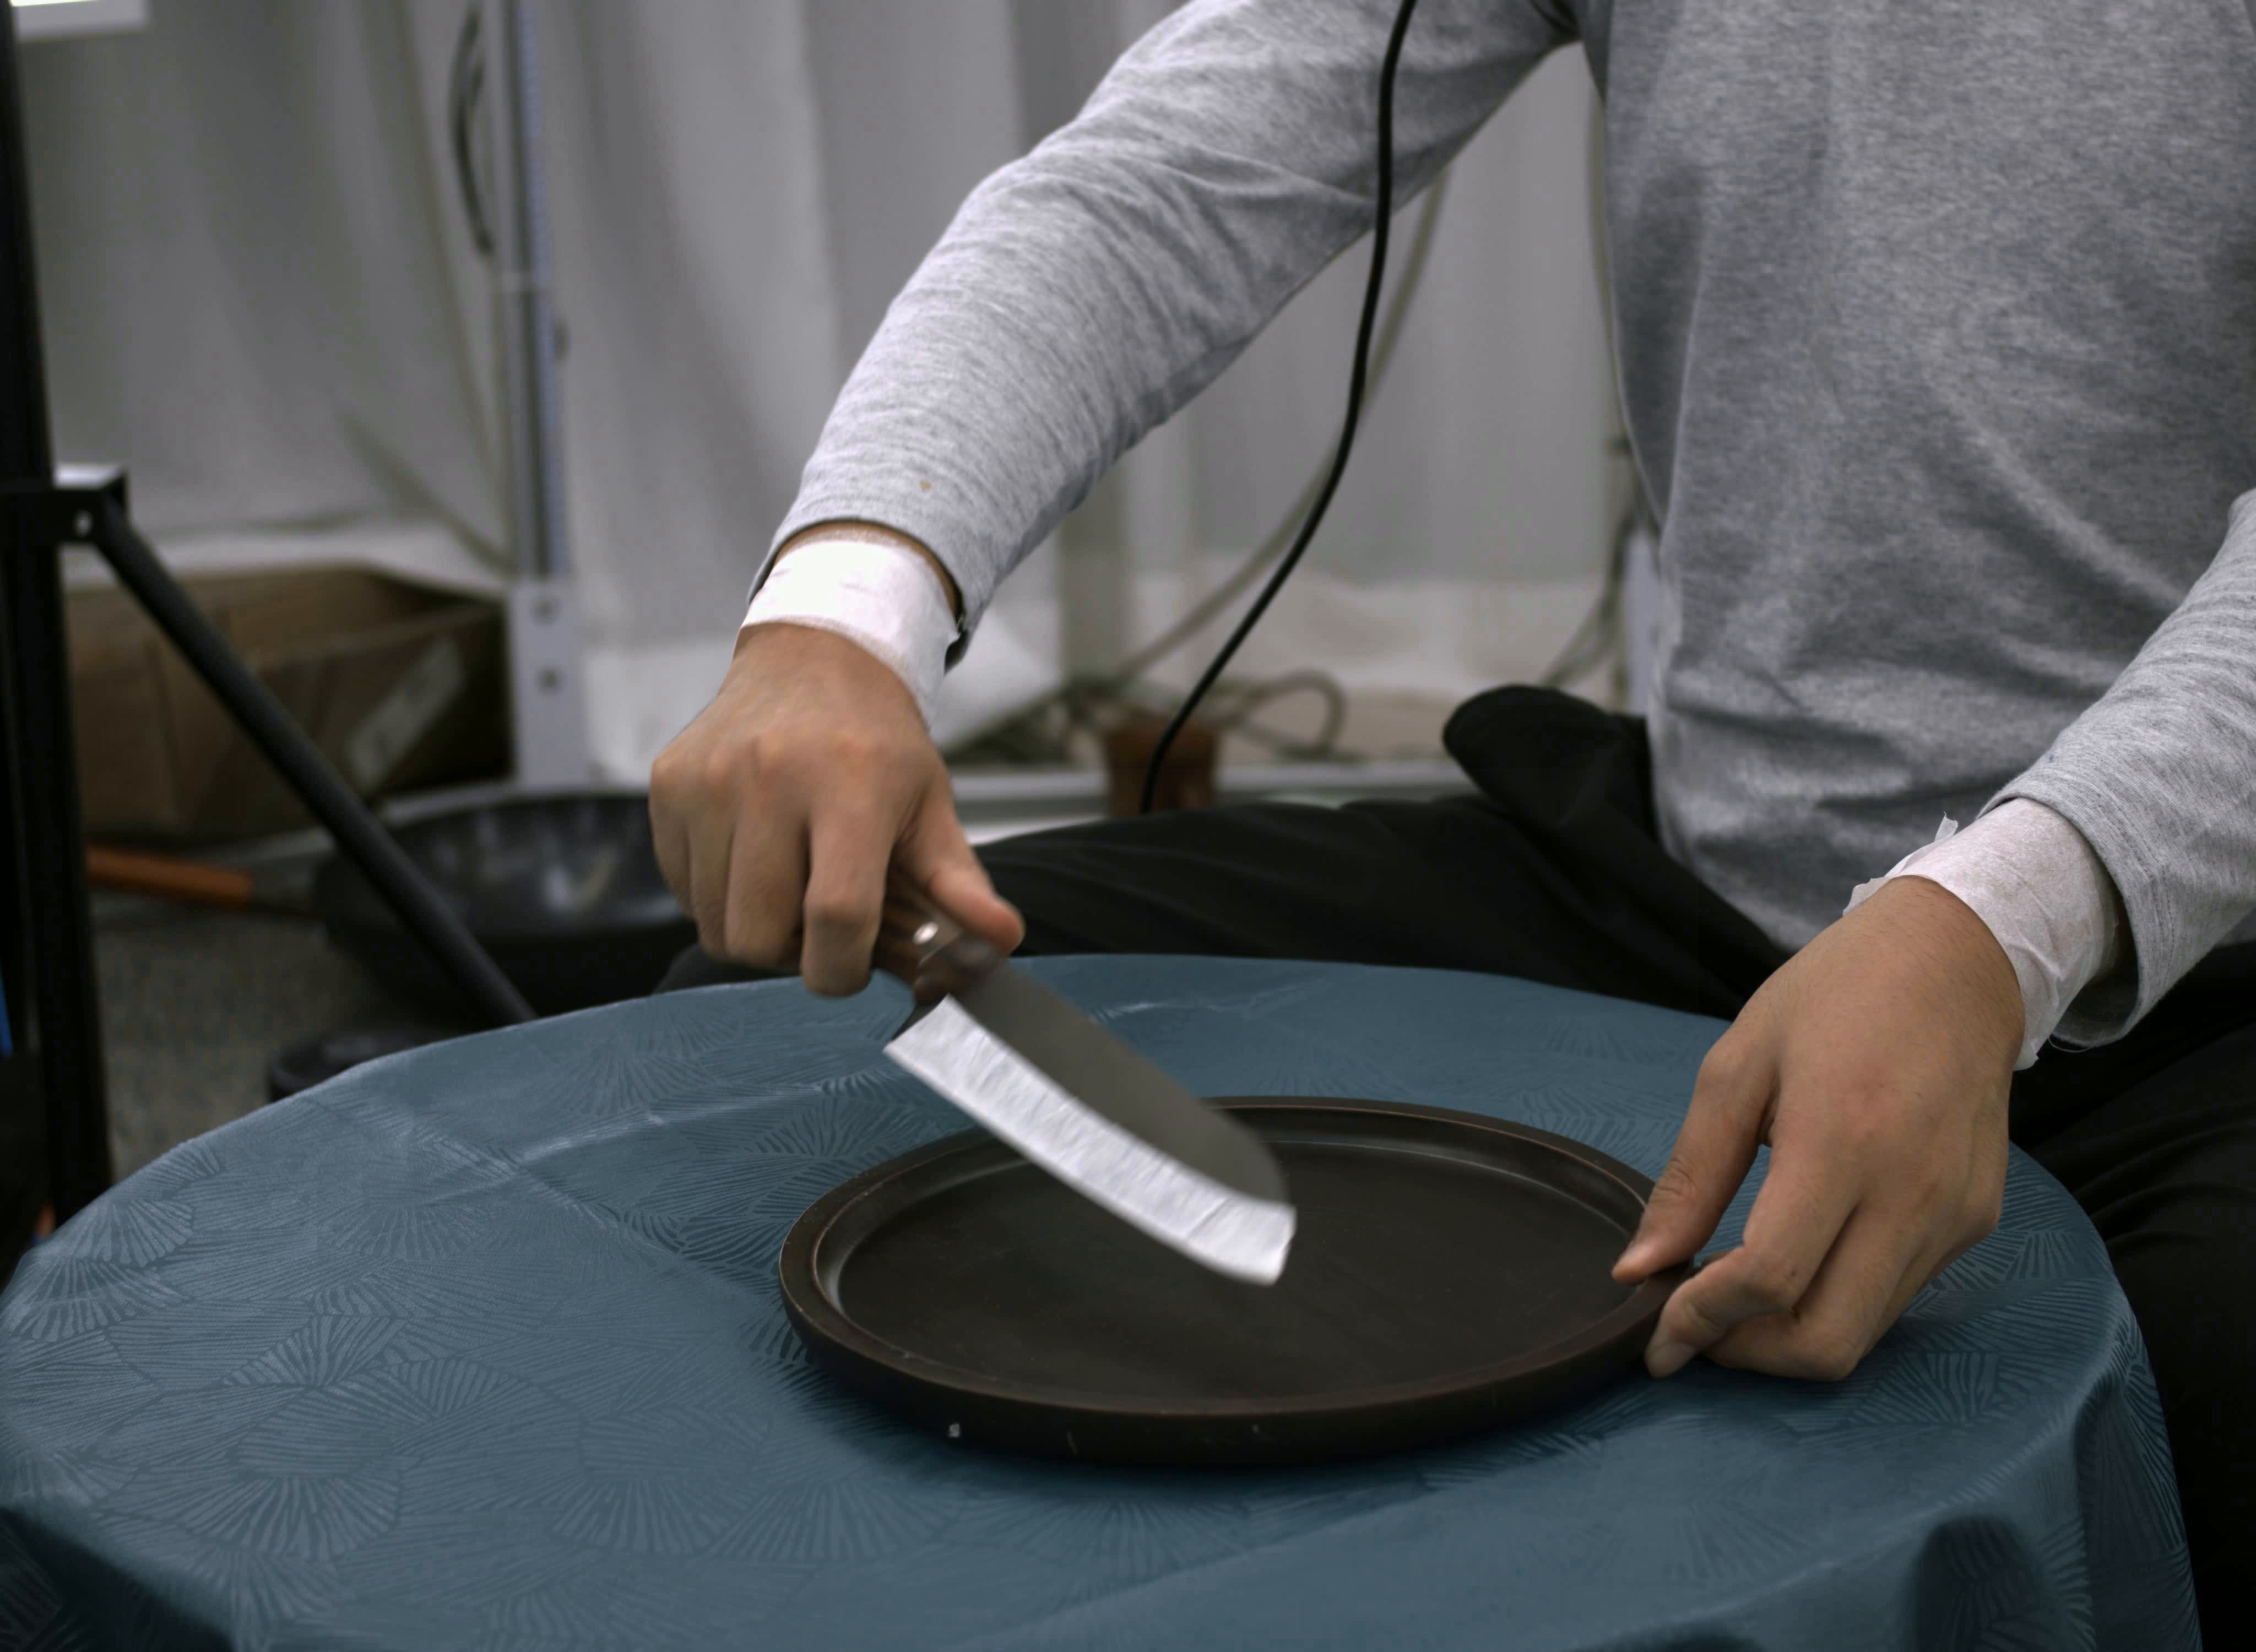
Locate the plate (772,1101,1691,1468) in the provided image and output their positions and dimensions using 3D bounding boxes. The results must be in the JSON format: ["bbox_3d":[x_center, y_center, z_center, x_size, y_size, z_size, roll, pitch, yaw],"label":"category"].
[{"bbox_3d":[0.029,0.123,1.459,0.253,0.029,0.256,-3,14,-1],"label":"plate"}]

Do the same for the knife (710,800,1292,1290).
[{"bbox_3d":[-0.039,0.059,1.487,0.050,0.020,0.296,-38,40,-13],"label":"knife"}]
